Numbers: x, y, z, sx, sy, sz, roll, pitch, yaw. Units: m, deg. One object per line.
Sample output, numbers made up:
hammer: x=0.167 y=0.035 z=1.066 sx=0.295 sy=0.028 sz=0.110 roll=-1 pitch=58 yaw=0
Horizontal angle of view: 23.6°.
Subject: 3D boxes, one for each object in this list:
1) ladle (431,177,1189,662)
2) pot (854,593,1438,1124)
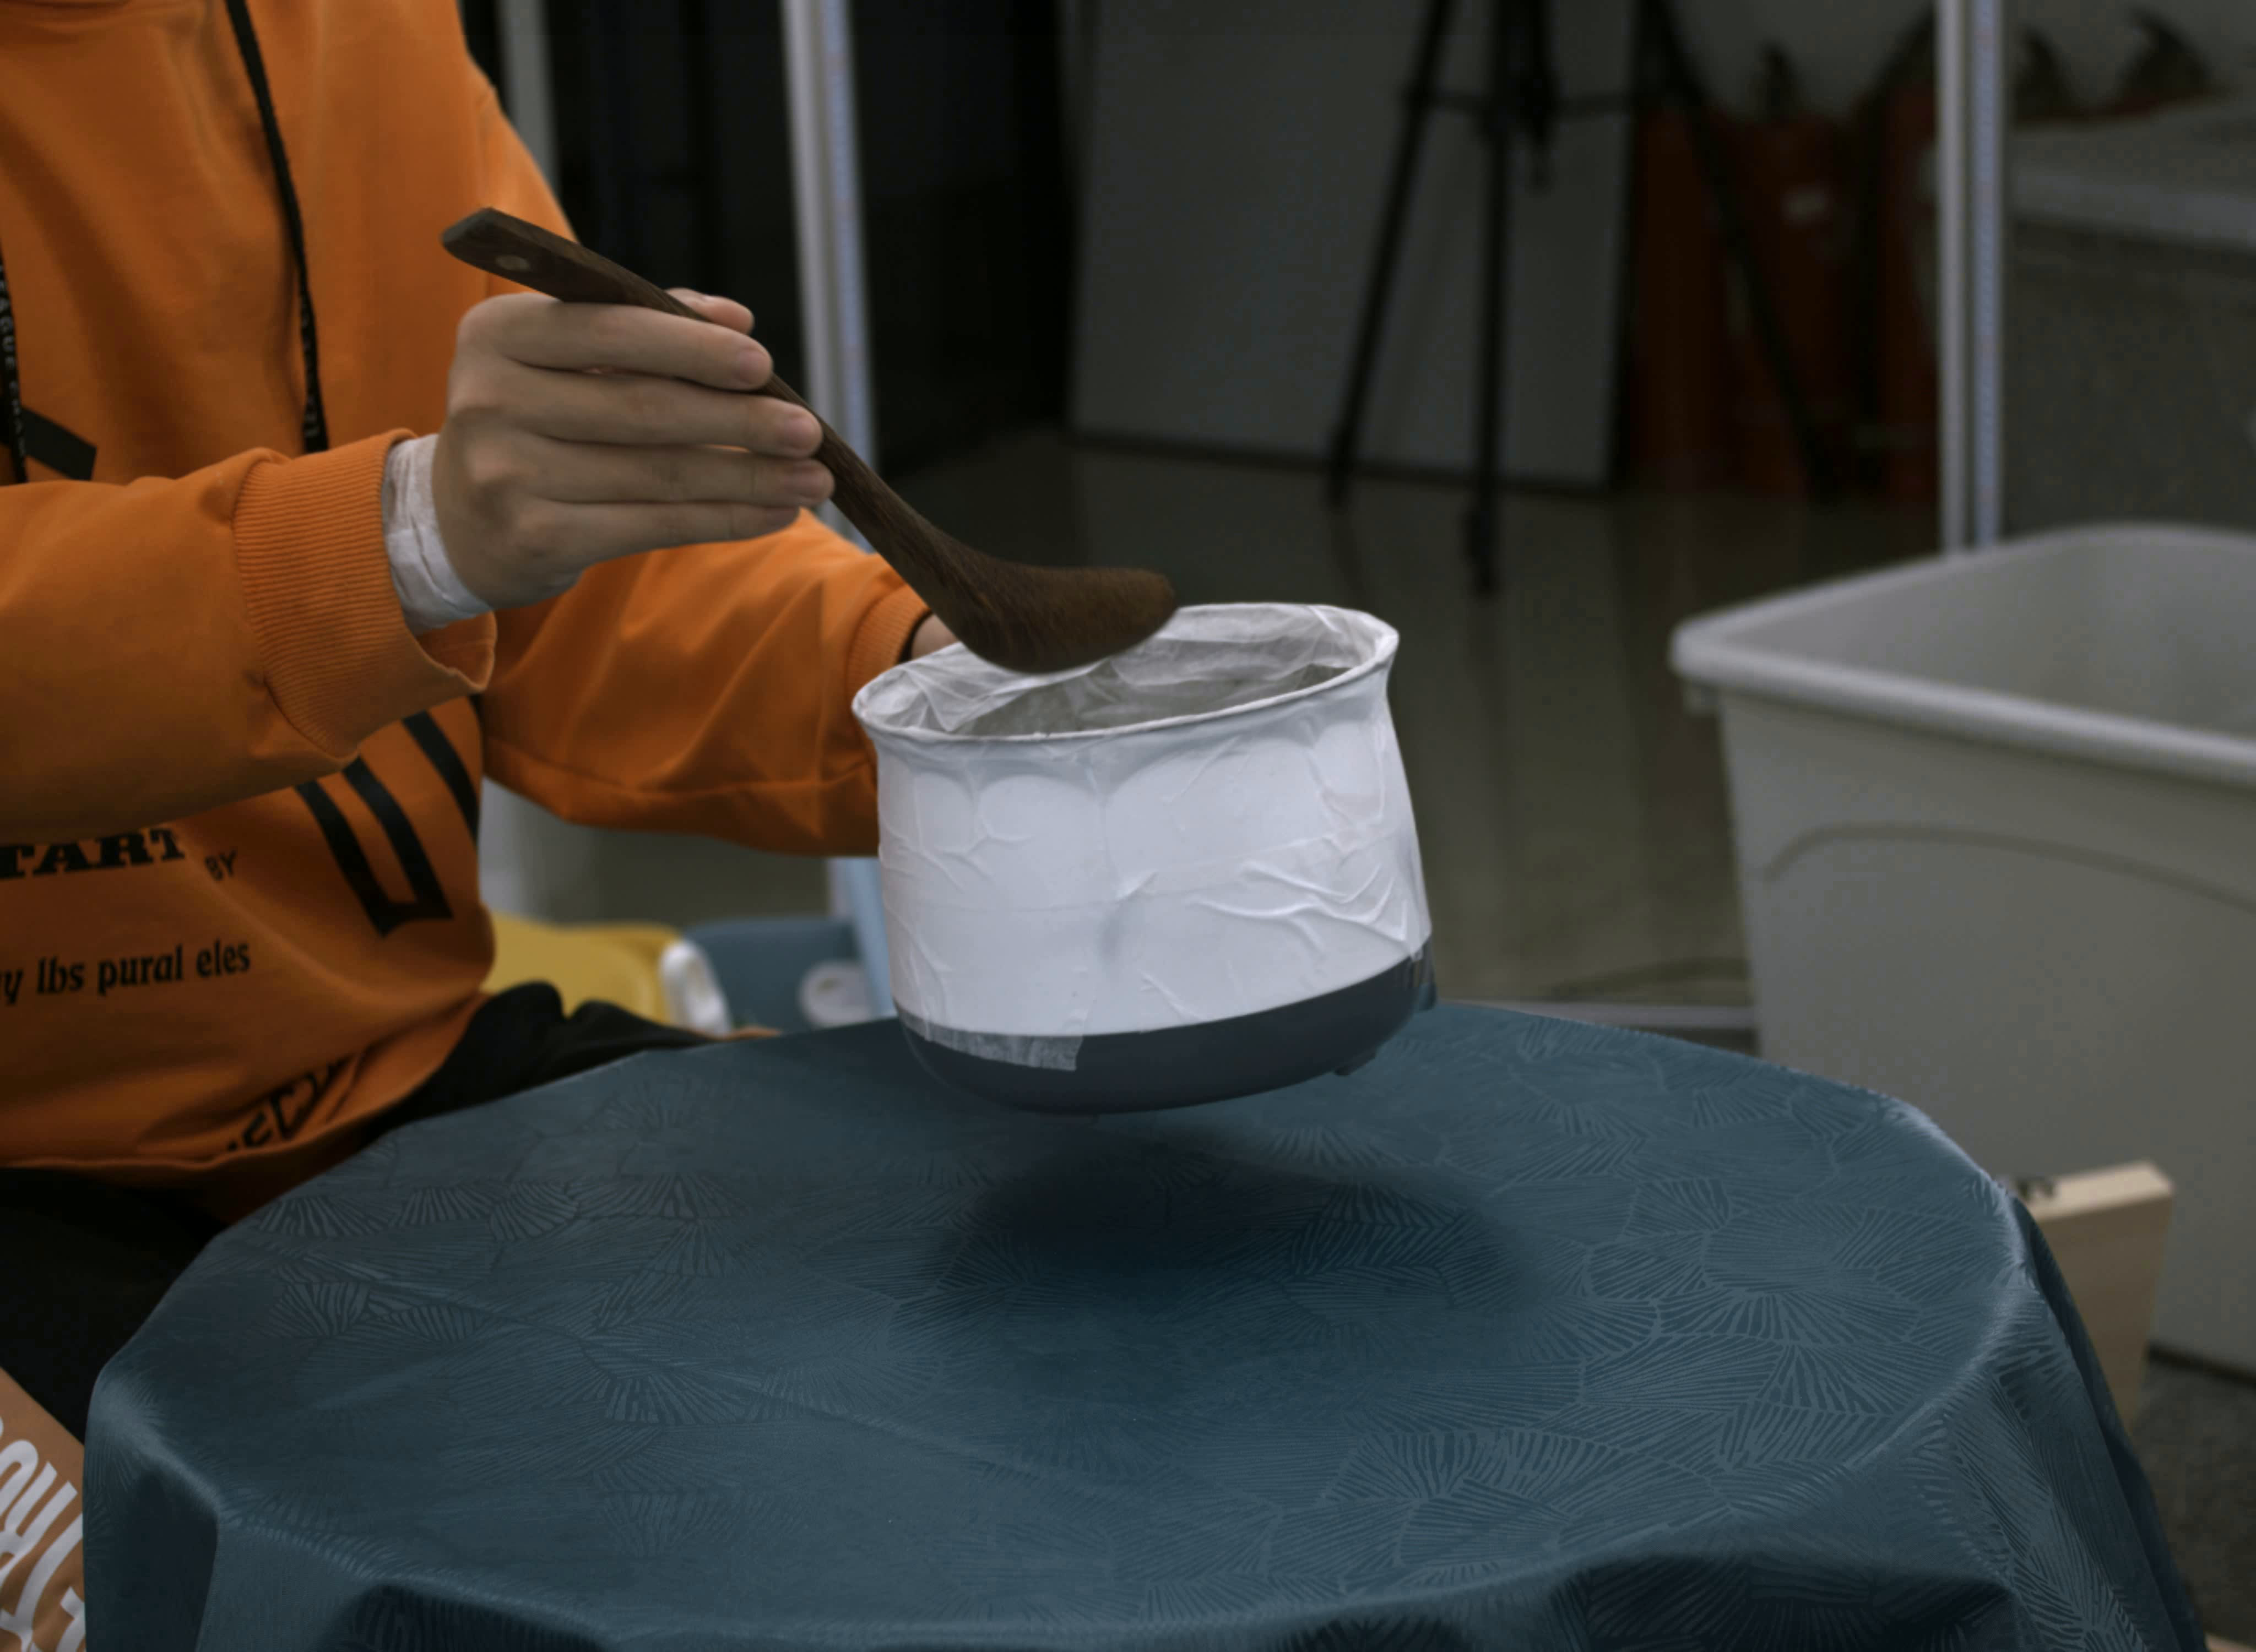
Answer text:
ladle: x=-0.093 y=-0.136 z=1.658 sx=0.077 sy=0.270 sz=0.071 roll=-26 pitch=36 yaw=44
pot: x=-0.001 y=0.004 z=1.752 sx=0.175 sy=0.138 sz=0.235 roll=-10 pitch=13 yaw=-14
